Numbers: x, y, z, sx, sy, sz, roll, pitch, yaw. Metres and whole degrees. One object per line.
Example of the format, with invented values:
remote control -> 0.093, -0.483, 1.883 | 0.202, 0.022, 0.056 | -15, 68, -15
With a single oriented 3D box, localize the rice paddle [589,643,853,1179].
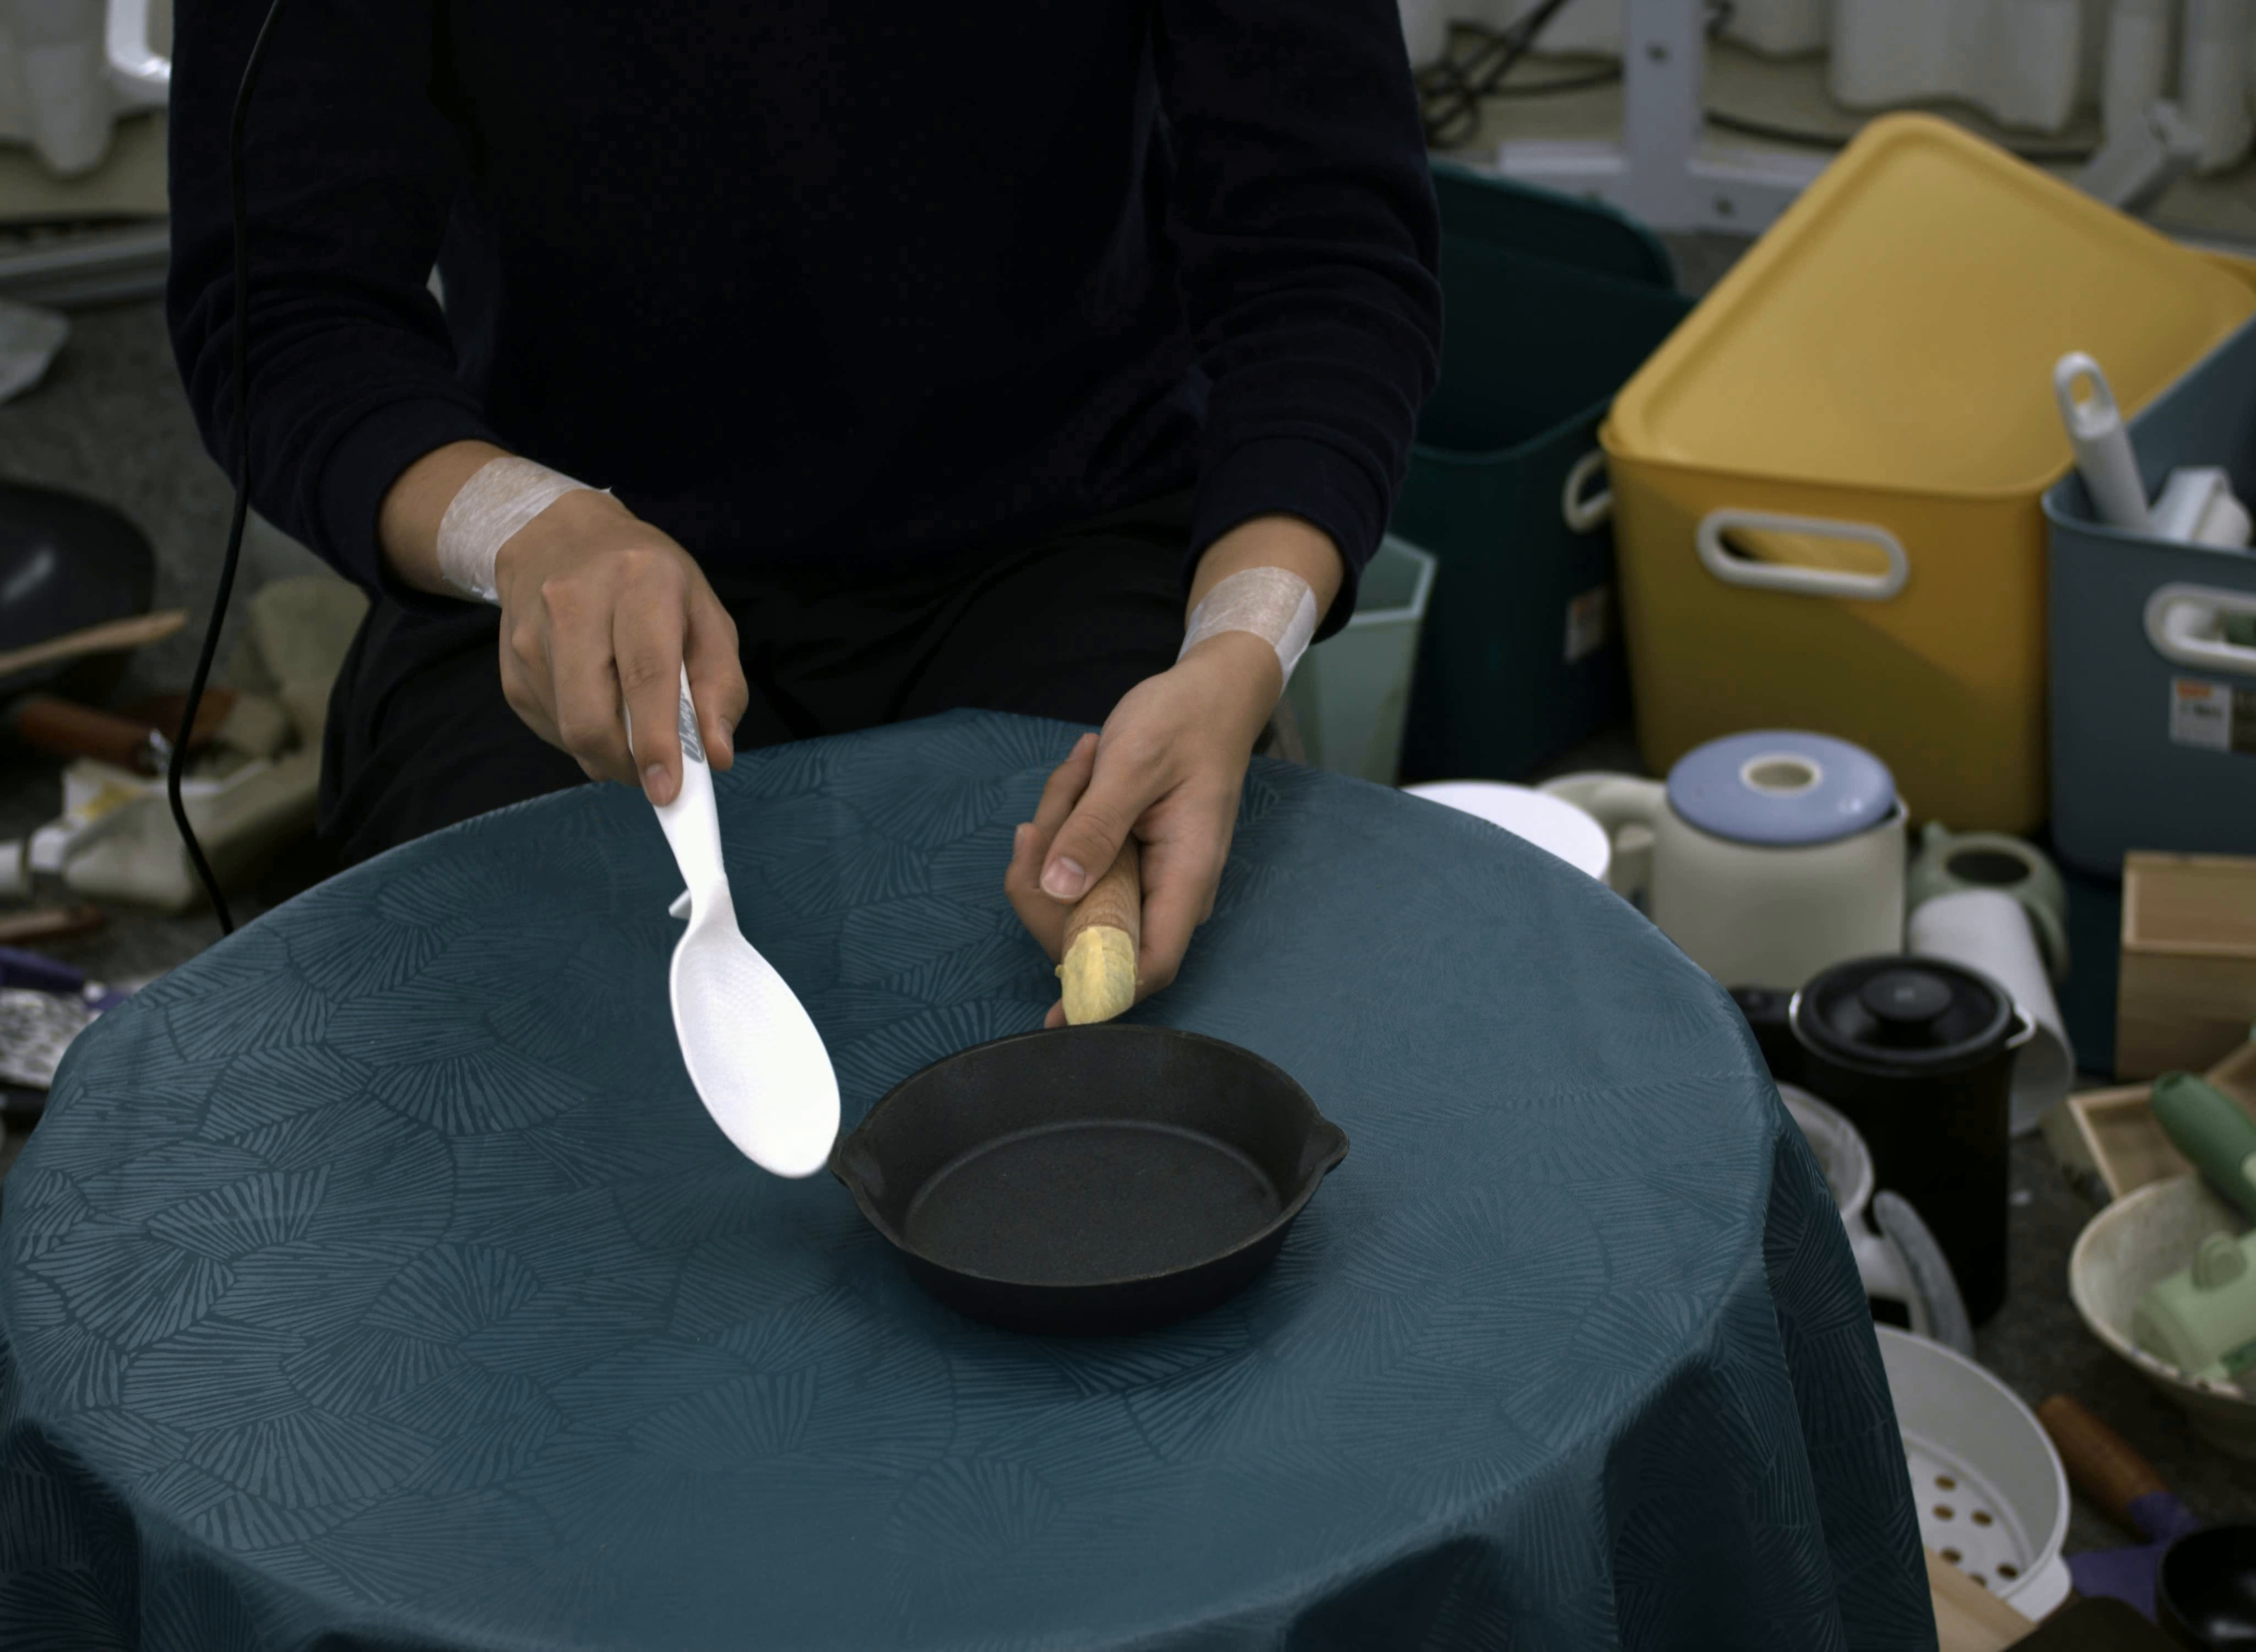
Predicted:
rice paddle -> -0.136, 0.029, 1.866 | 0.069, 0.029, 0.208 | 14, 45, -44

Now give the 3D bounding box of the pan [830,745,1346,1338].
pan -> -0.008, 0.070, 1.903 | 0.168, 0.049, 0.329 | -1, 30, 4
